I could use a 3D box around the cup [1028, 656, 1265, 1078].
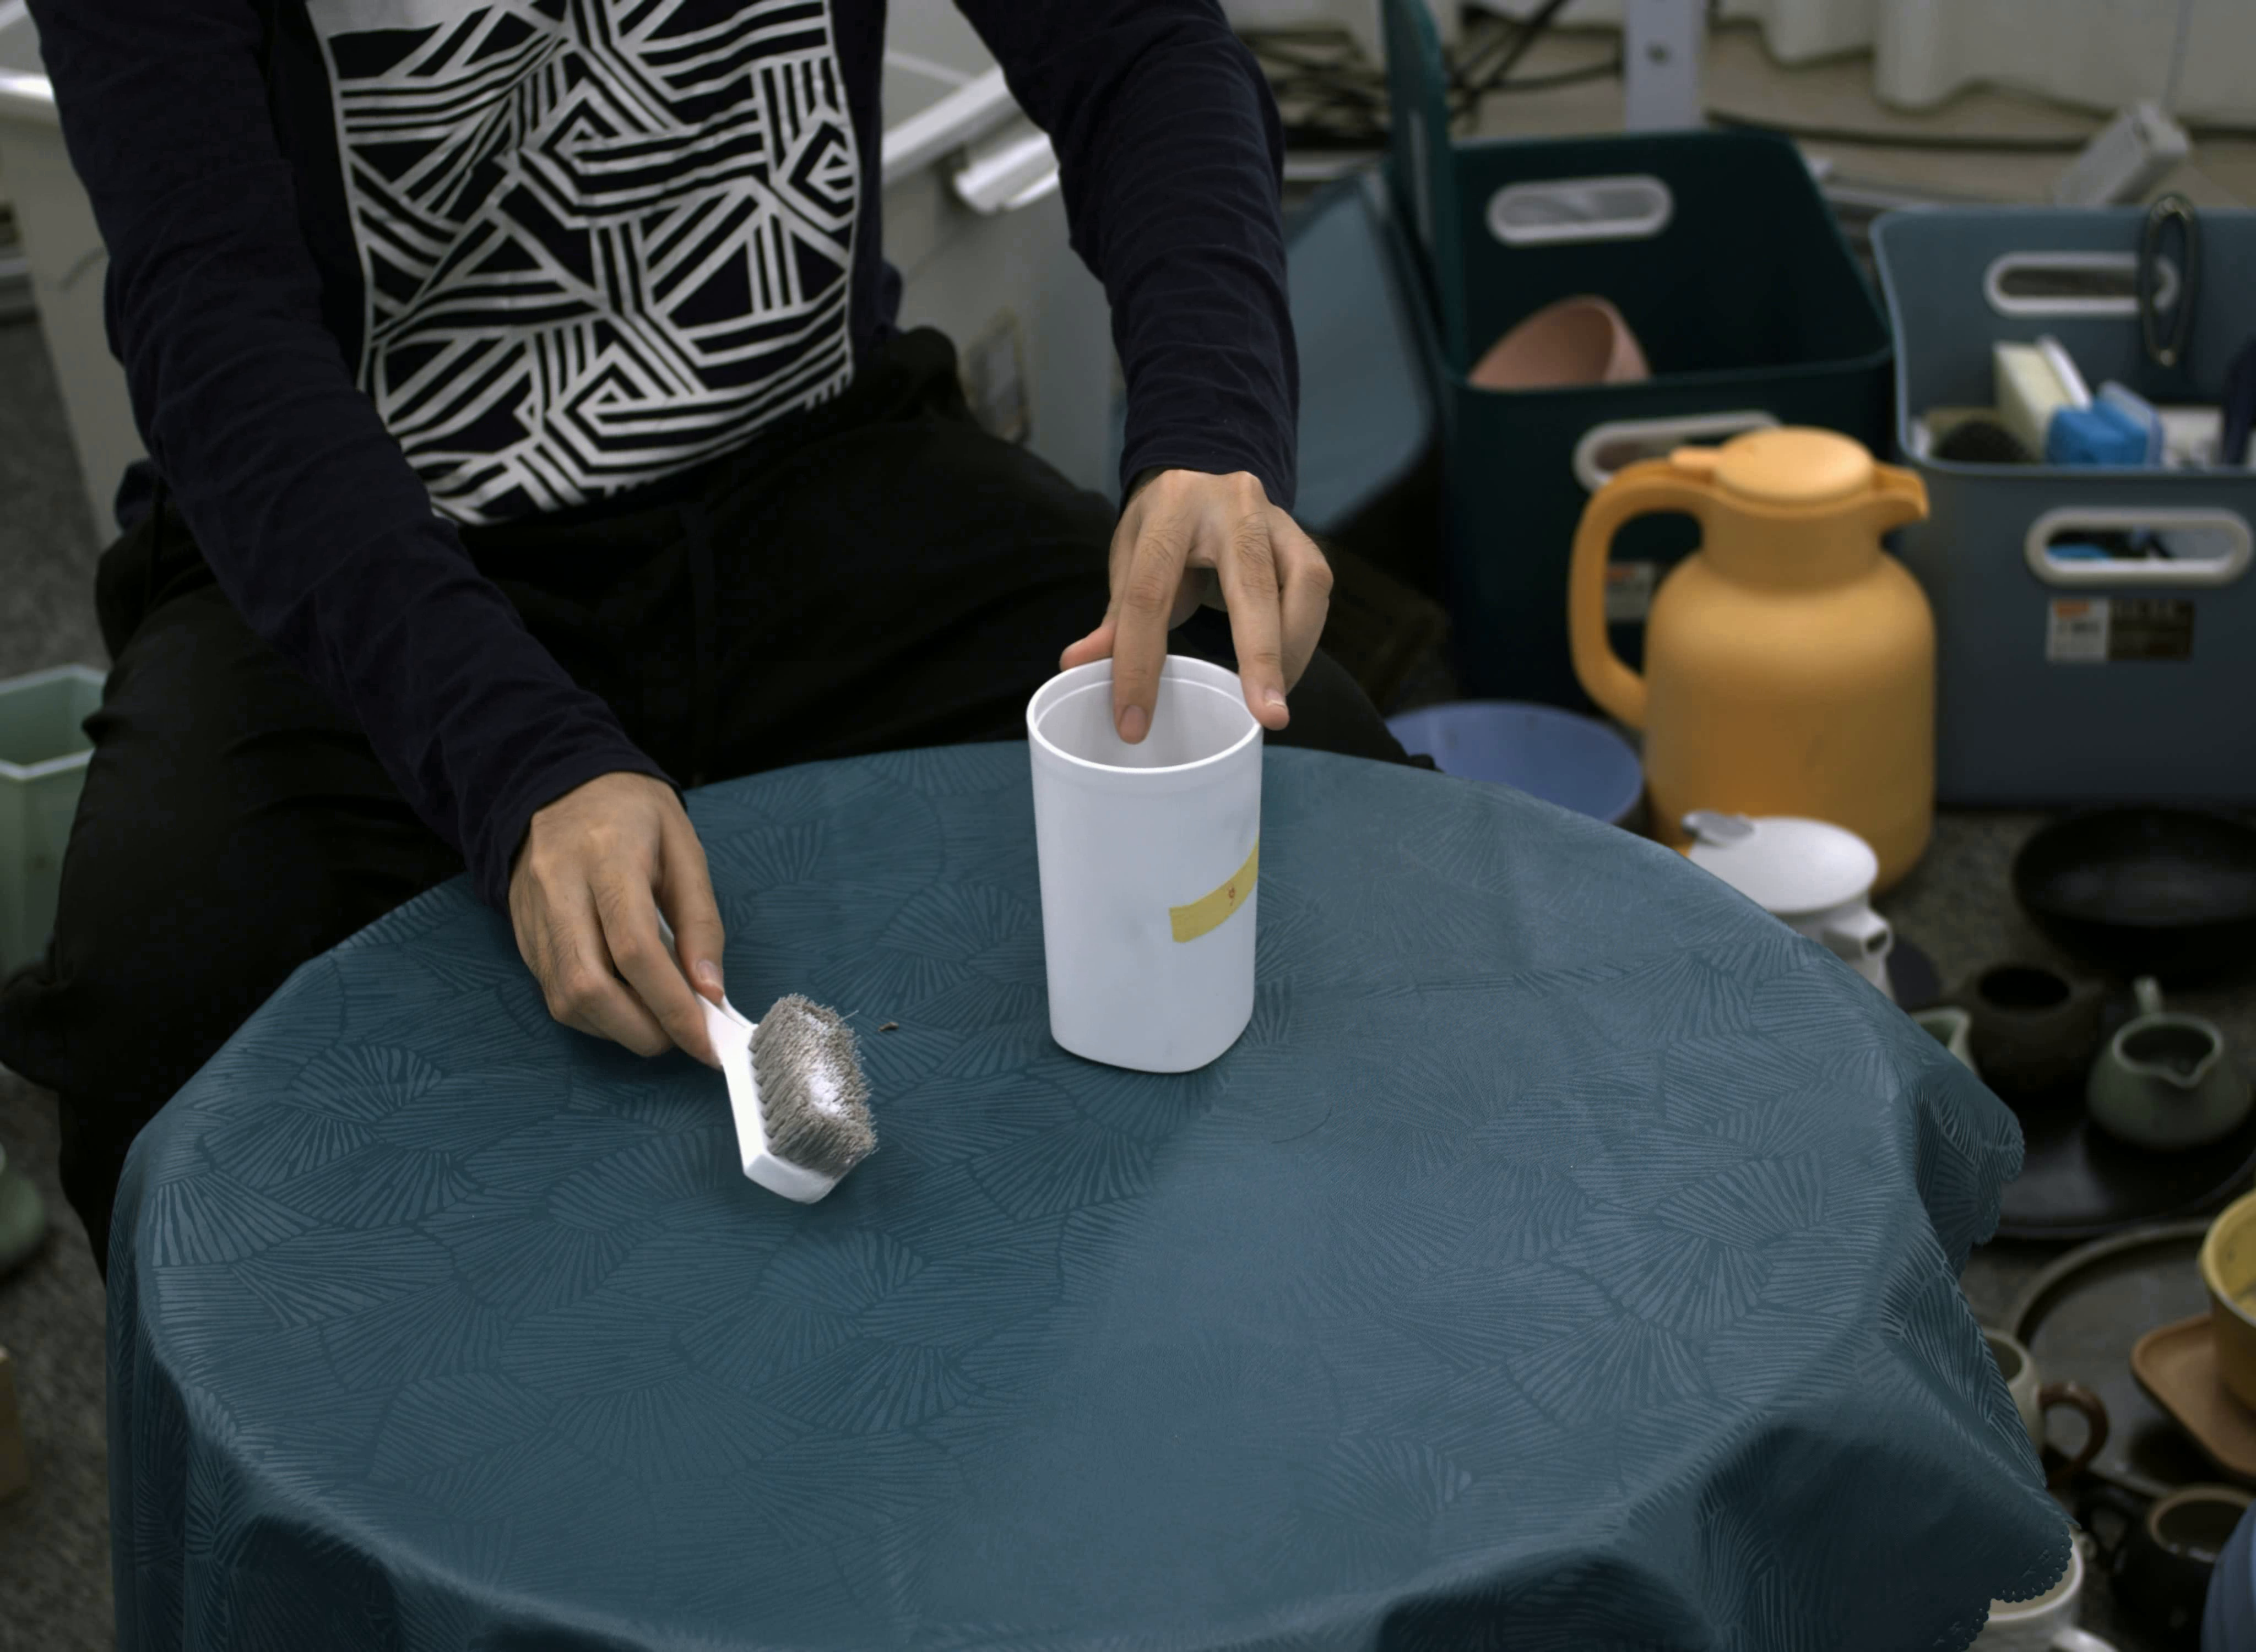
[{"bbox_3d":[0.007,0.016,1.928,0.081,0.124,0.083,0,28,1],"label":"cup"}]

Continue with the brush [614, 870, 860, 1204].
[{"bbox_3d":[-0.137,0.055,1.941,0.034,0.050,0.246,18,18,-25],"label":"brush"}]
